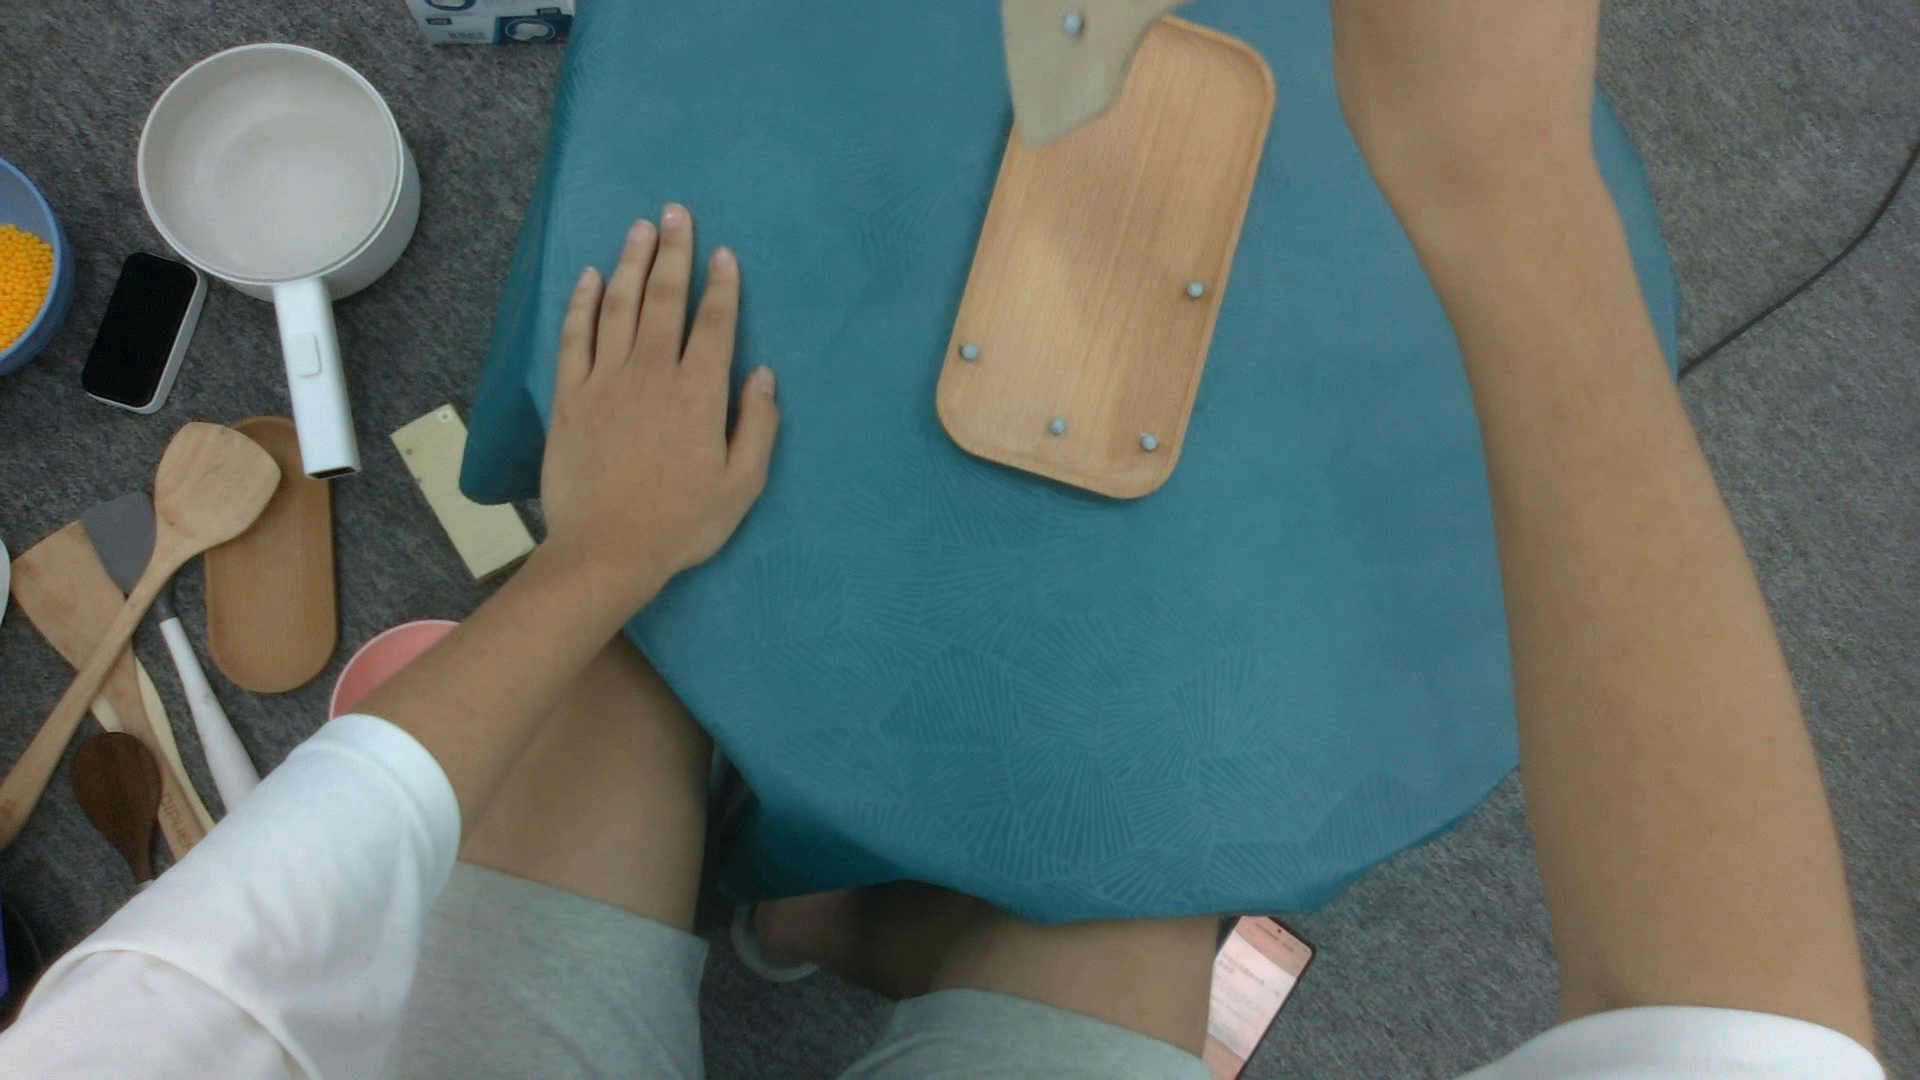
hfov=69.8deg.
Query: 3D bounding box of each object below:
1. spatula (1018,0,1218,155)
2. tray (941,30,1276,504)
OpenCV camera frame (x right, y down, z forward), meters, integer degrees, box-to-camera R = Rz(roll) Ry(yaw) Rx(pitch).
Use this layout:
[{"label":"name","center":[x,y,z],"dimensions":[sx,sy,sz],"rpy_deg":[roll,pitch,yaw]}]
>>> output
[{"label":"spatula","center":[0.079,-0.202,0.493],"dimensions":[0.011,0.292,0.072],"rpy_deg":[-9,97,-18]},{"label":"tray","center":[0.079,-0.148,0.718],"dimensions":[0.130,0.023,0.251],"rpy_deg":[18,81,-7]}]
